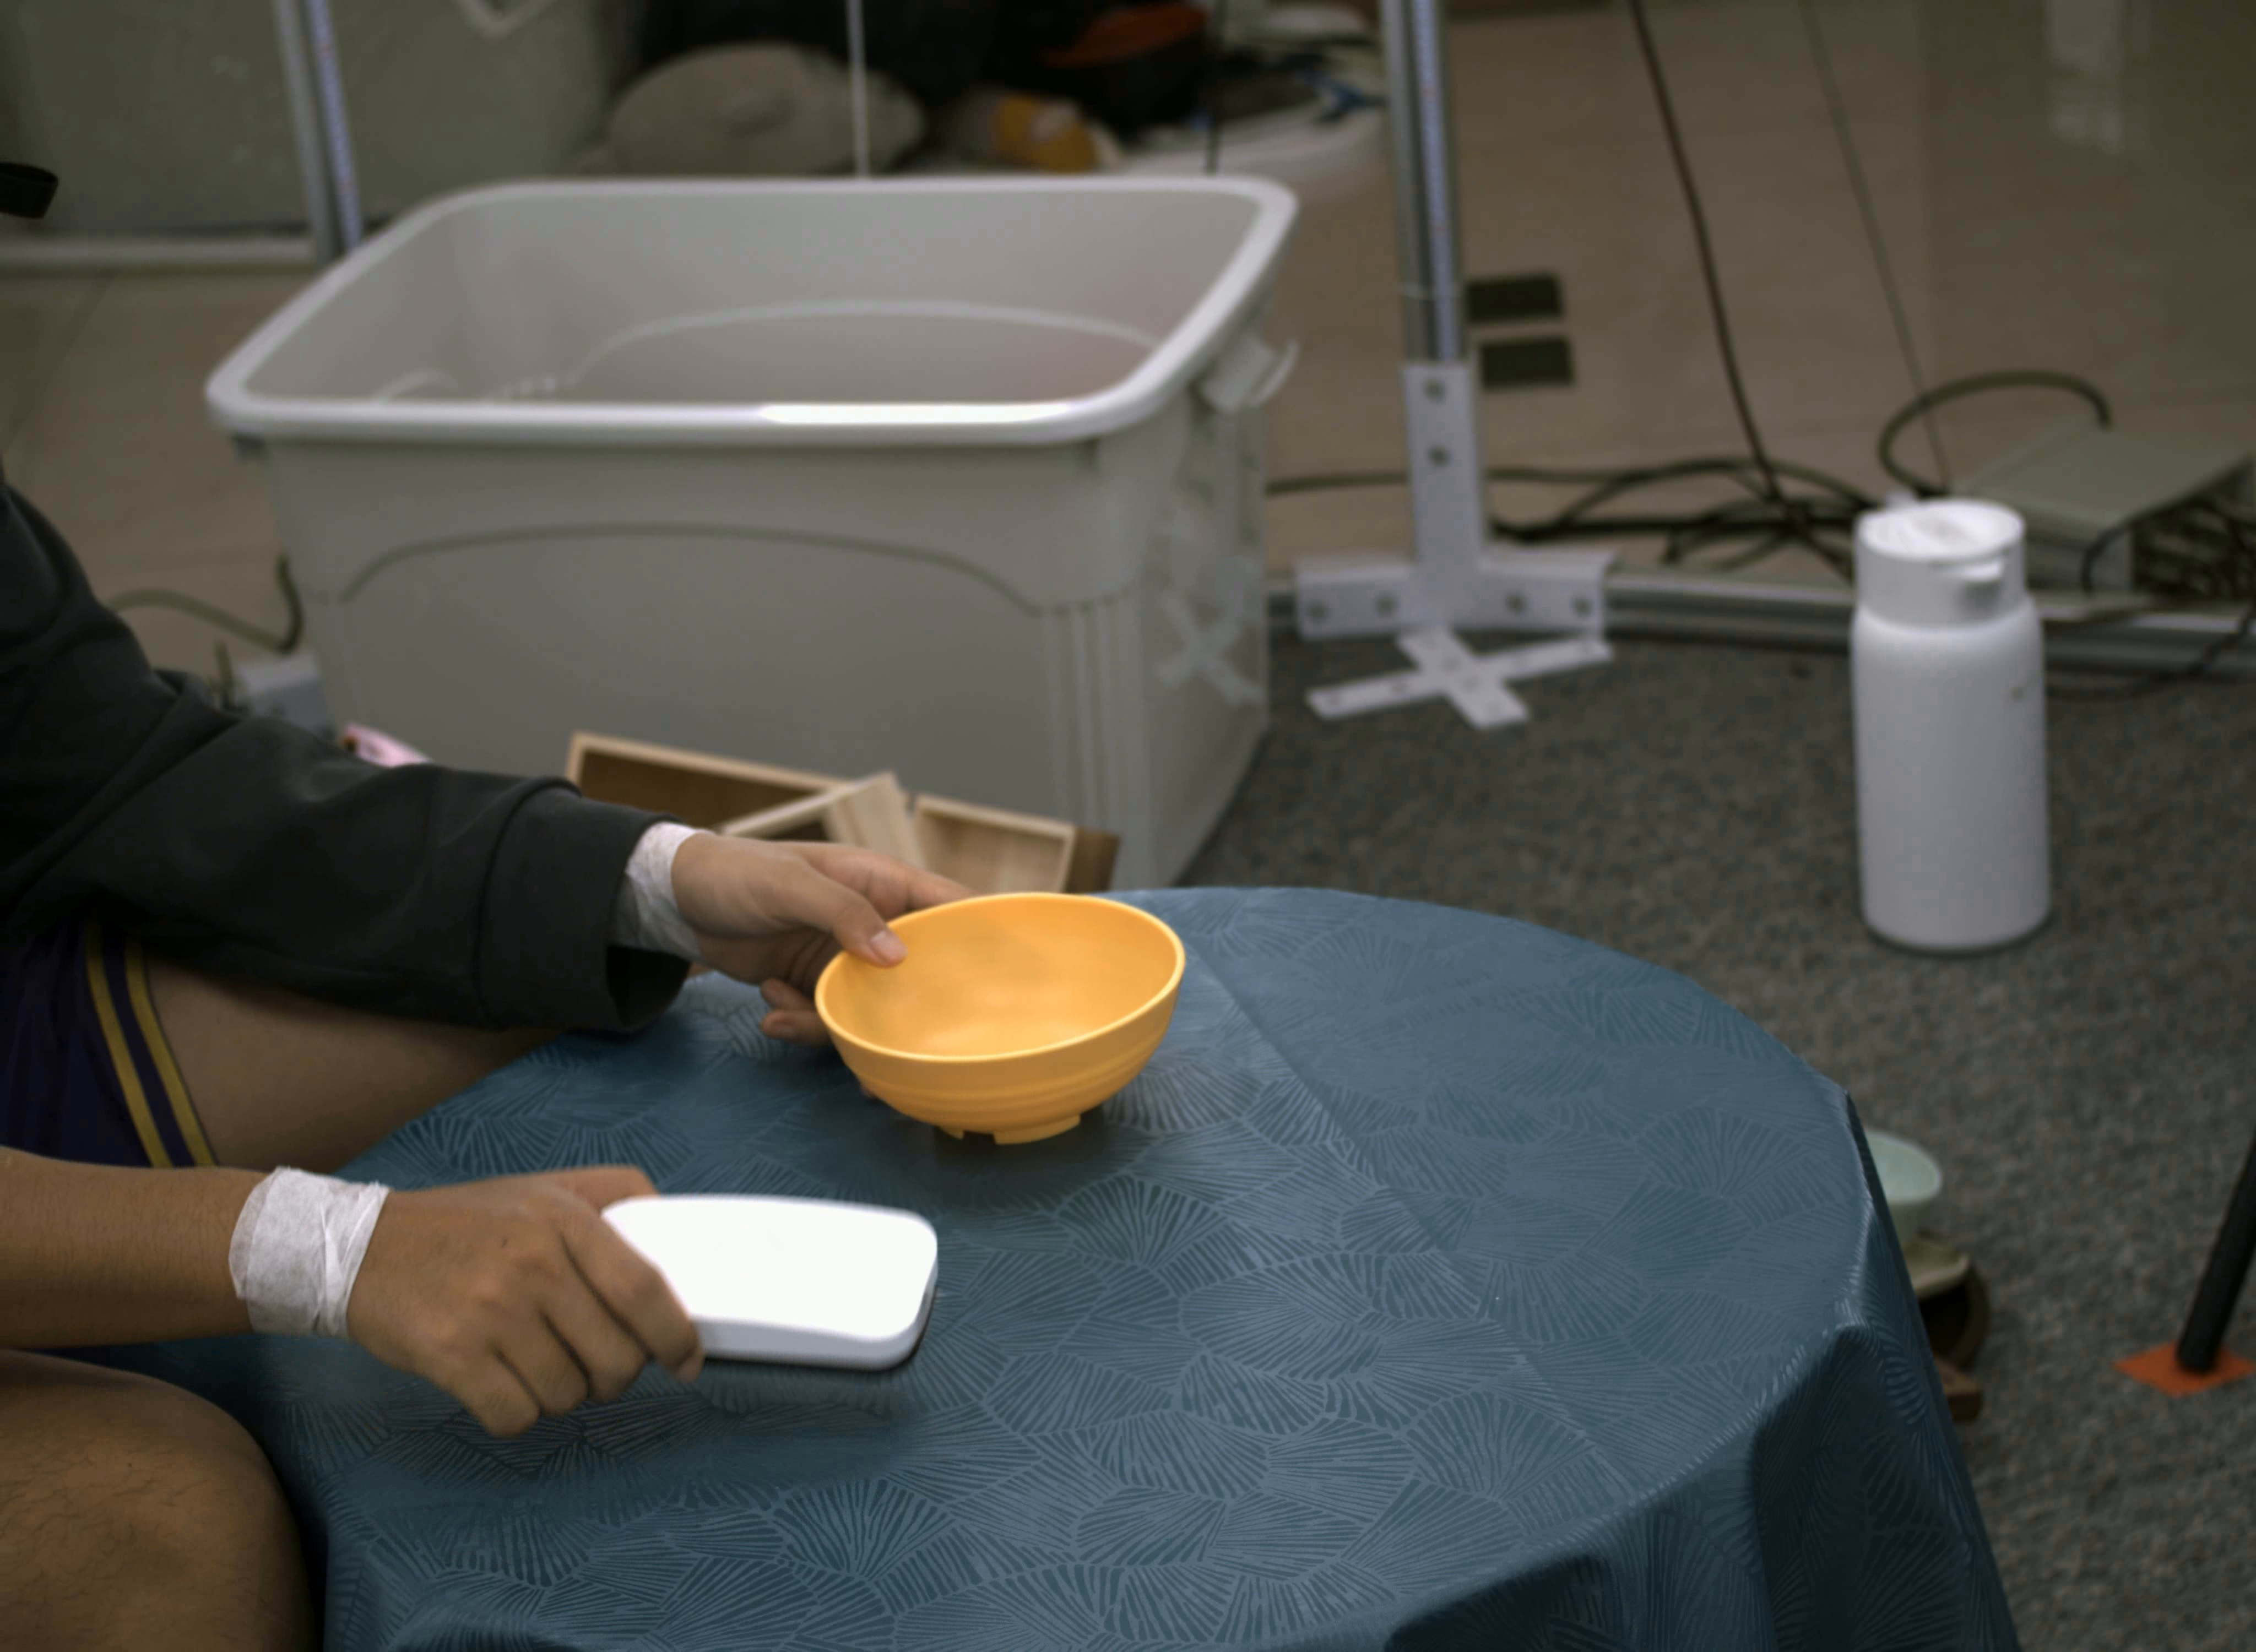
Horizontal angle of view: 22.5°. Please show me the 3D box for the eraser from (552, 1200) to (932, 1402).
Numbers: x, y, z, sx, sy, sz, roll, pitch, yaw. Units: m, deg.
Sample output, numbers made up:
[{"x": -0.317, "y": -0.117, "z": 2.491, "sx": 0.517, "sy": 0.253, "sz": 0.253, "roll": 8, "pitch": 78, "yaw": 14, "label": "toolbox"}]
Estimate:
[{"x": -0.135, "y": 0.167, "z": 2.006, "sx": 0.131, "sy": 0.035, "sz": 0.062, "roll": 6, "pitch": 41, "yaw": 13, "label": "eraser"}]

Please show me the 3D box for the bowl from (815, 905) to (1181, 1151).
[{"x": -0.047, "y": 0.086, "z": 2.208, "sx": 0.145, "sy": 0.061, "sz": 0.143, "roll": -7, "pitch": 23, "yaw": 3, "label": "bowl"}]
